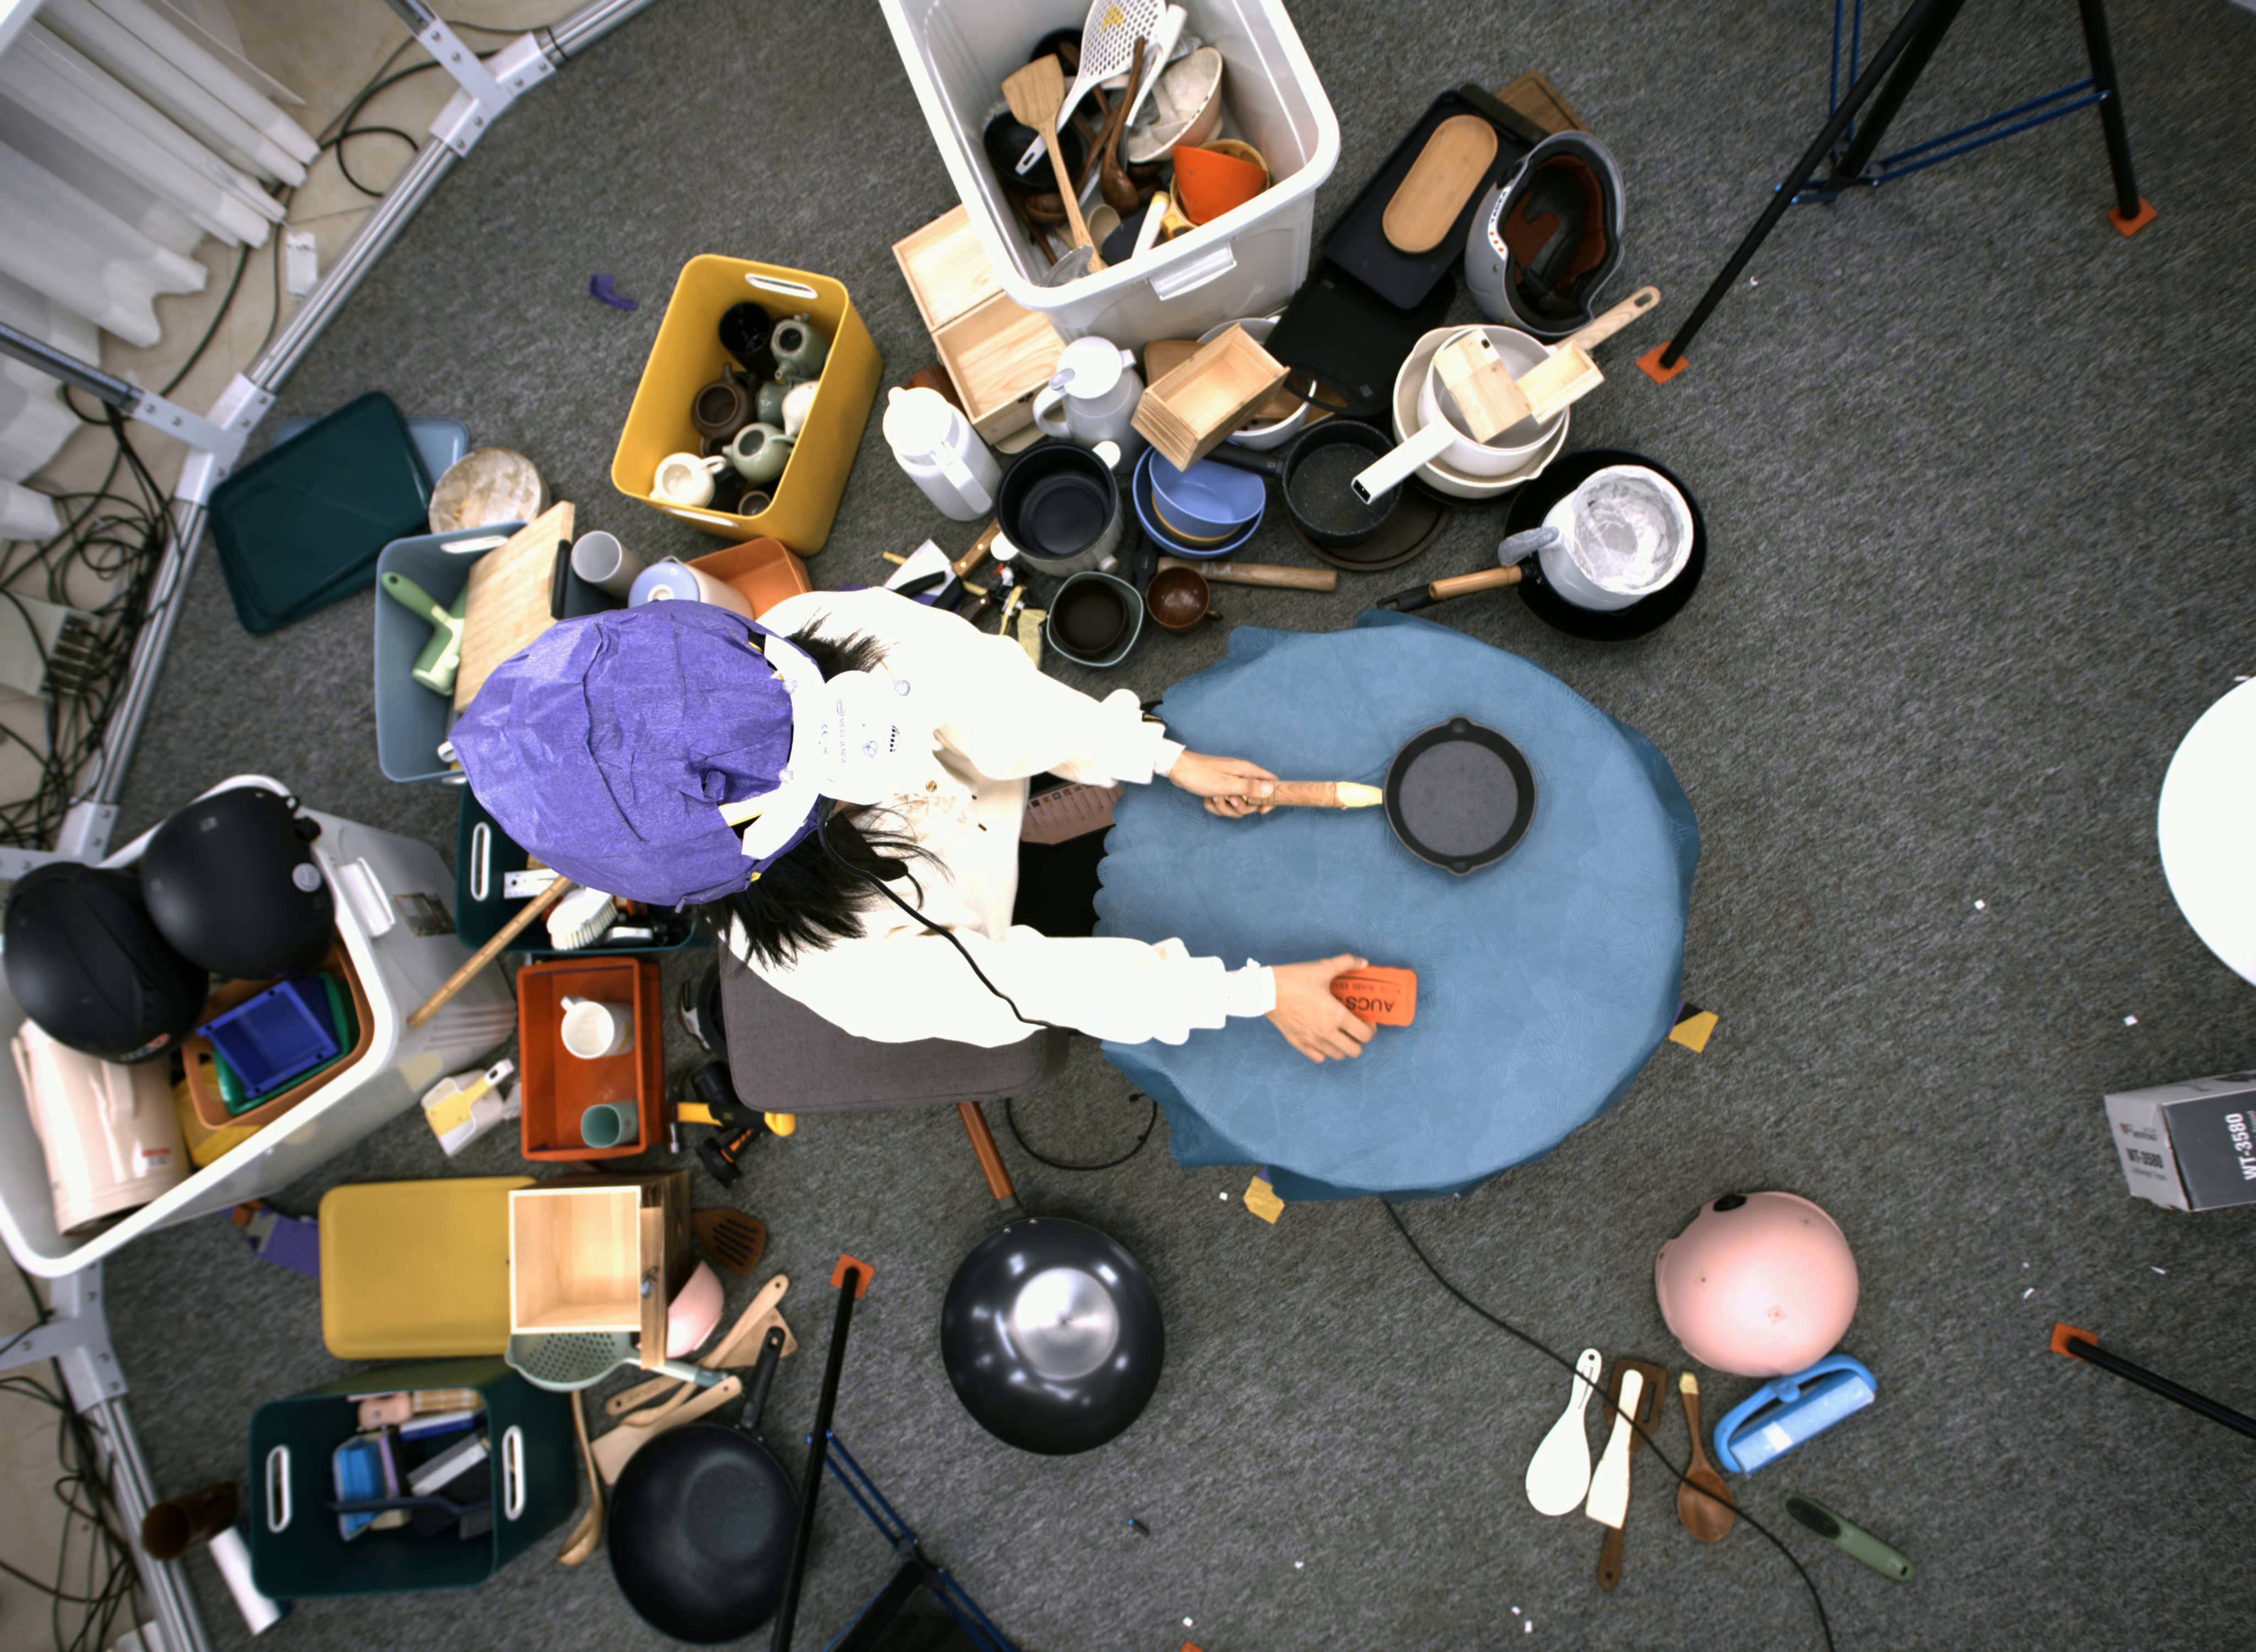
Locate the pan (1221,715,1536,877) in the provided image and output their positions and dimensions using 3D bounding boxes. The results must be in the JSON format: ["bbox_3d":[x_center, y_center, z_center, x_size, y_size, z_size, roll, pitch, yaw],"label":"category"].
[{"bbox_3d":[0.260,-0.035,1.441,0.325,0.049,0.168,2,87,9],"label":"pan"}]

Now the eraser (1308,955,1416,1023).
[{"bbox_3d":[0.243,0.168,1.437,0.108,0.022,0.059,6,99,19],"label":"eraser"}]
